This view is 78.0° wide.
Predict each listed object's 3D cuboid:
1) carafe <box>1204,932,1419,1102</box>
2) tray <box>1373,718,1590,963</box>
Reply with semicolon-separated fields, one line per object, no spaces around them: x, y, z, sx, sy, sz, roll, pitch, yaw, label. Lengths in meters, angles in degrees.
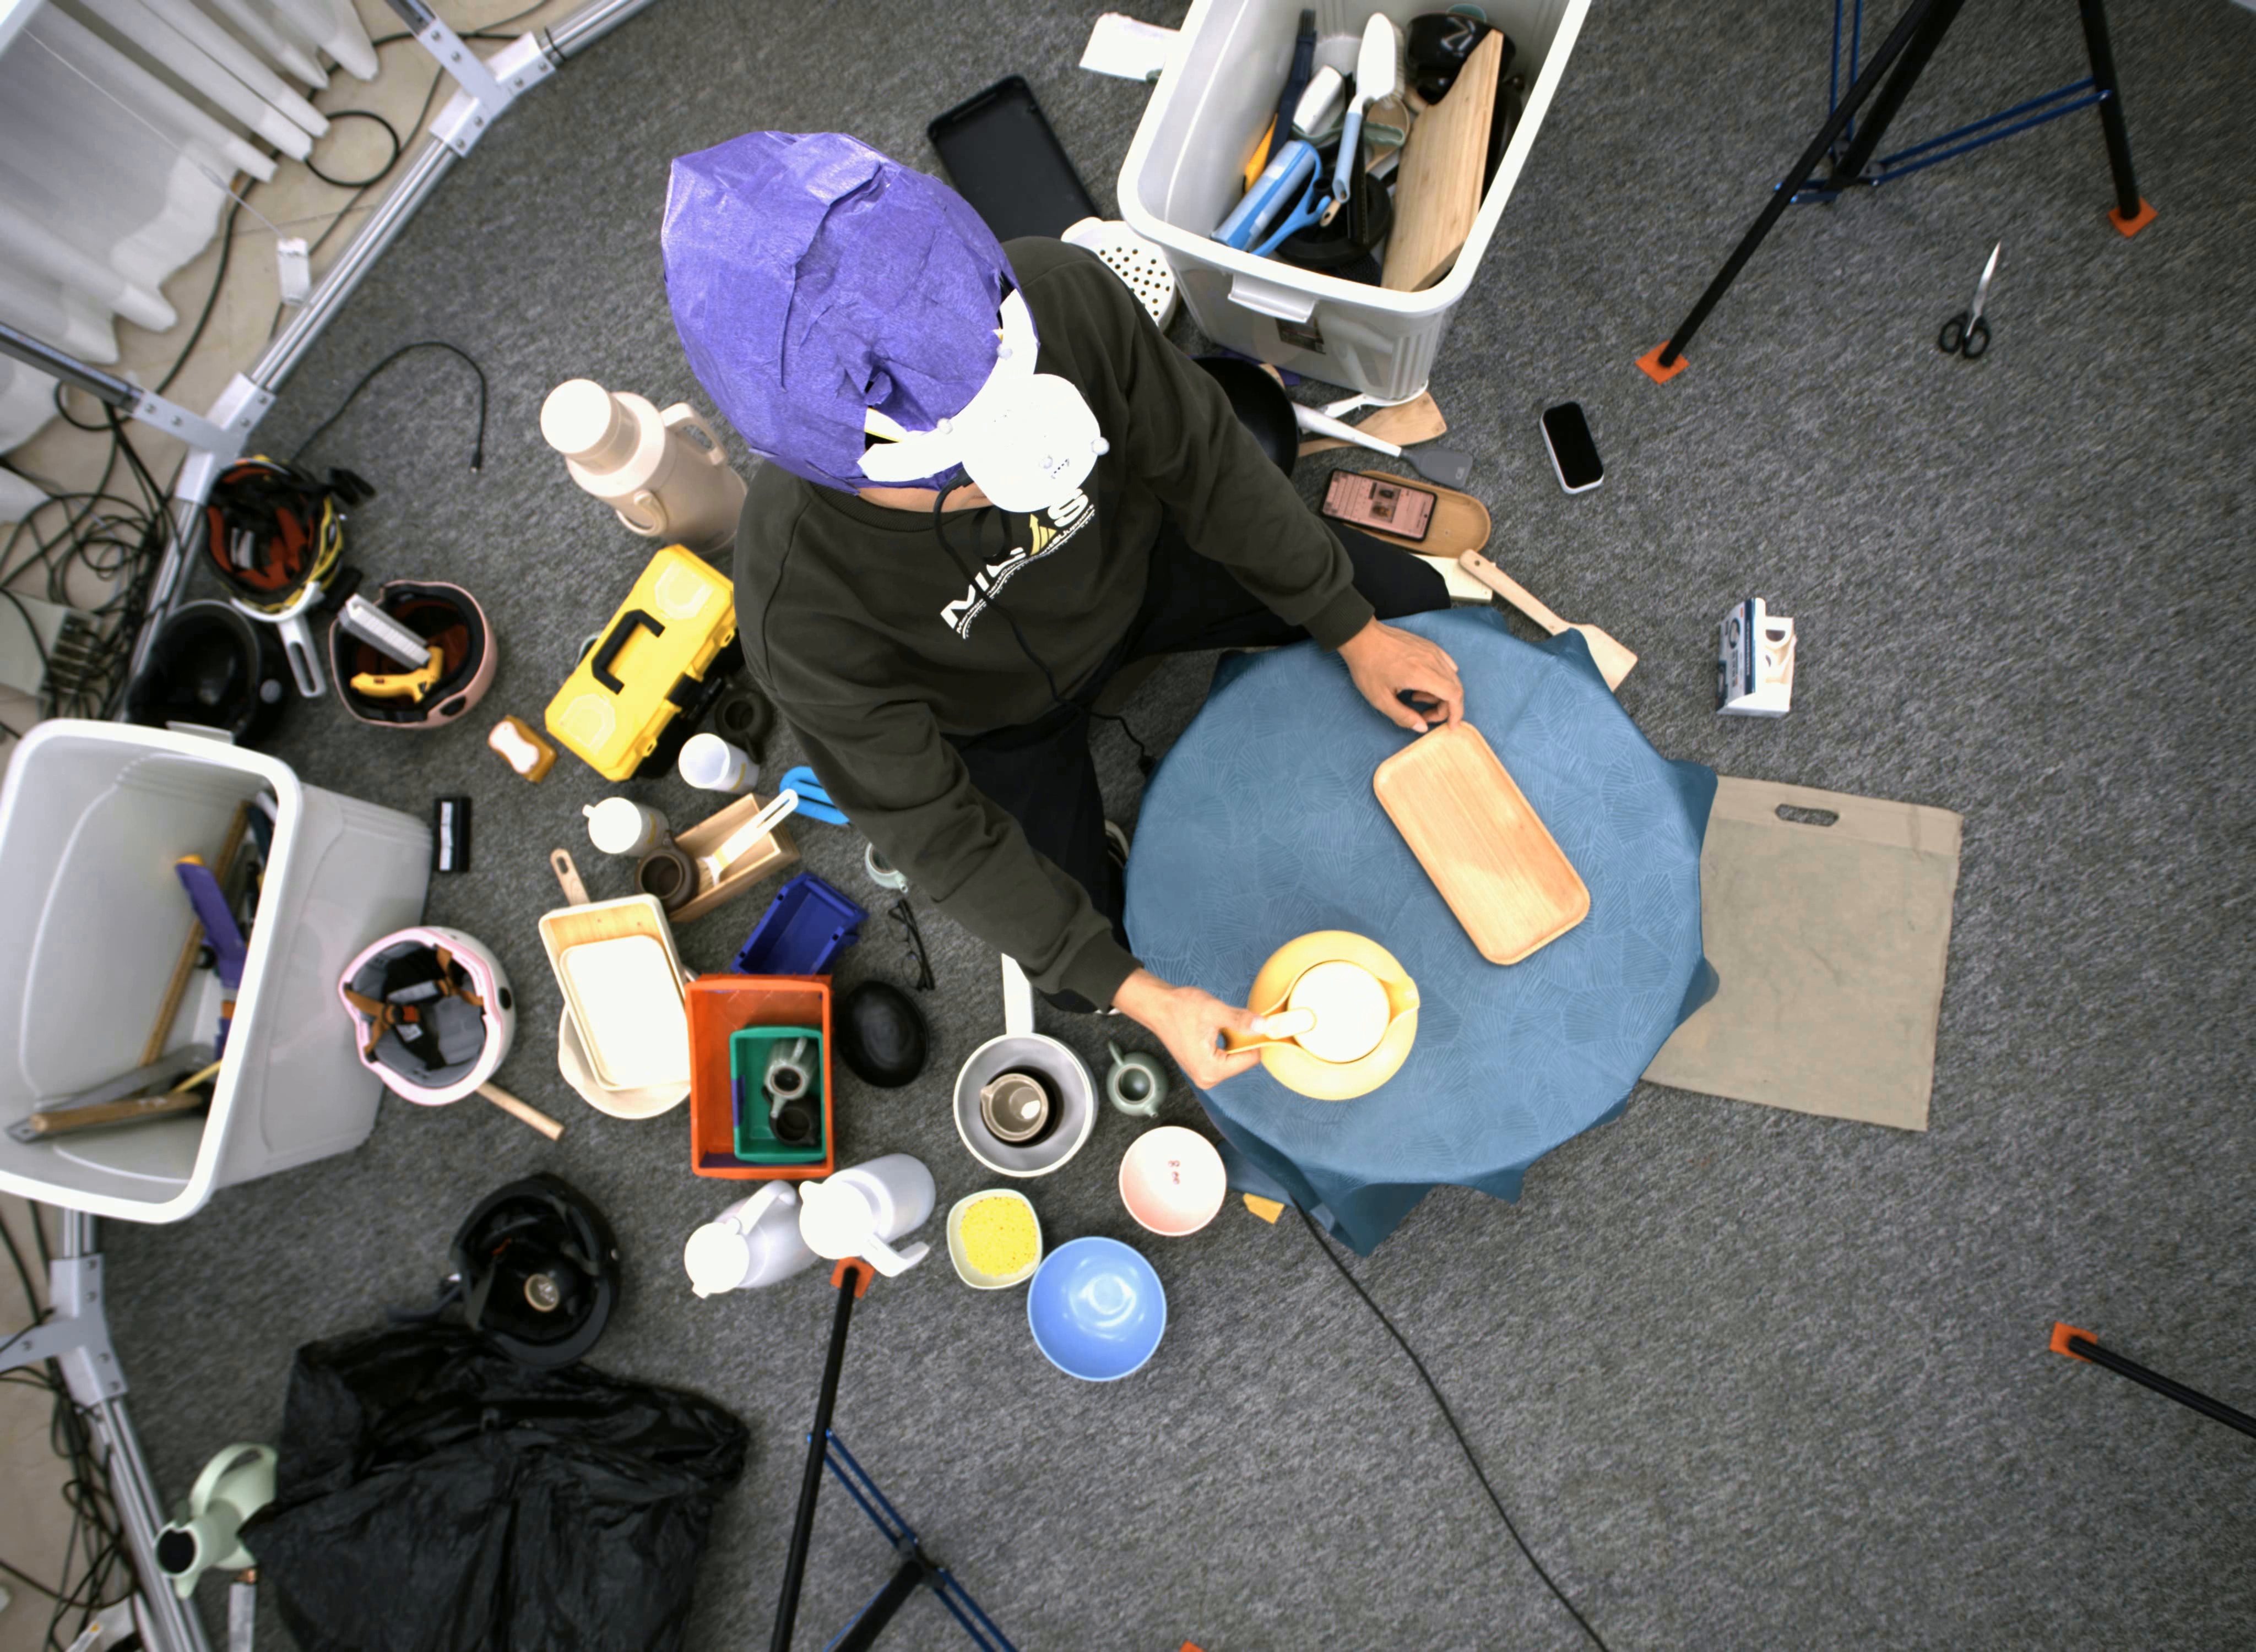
0.175;0.185;1.333;0.203;0.262;0.162;-12;79;3;carafe
0.367;0.012;1.436;0.131;0.023;0.249;-32;81;5;tray
